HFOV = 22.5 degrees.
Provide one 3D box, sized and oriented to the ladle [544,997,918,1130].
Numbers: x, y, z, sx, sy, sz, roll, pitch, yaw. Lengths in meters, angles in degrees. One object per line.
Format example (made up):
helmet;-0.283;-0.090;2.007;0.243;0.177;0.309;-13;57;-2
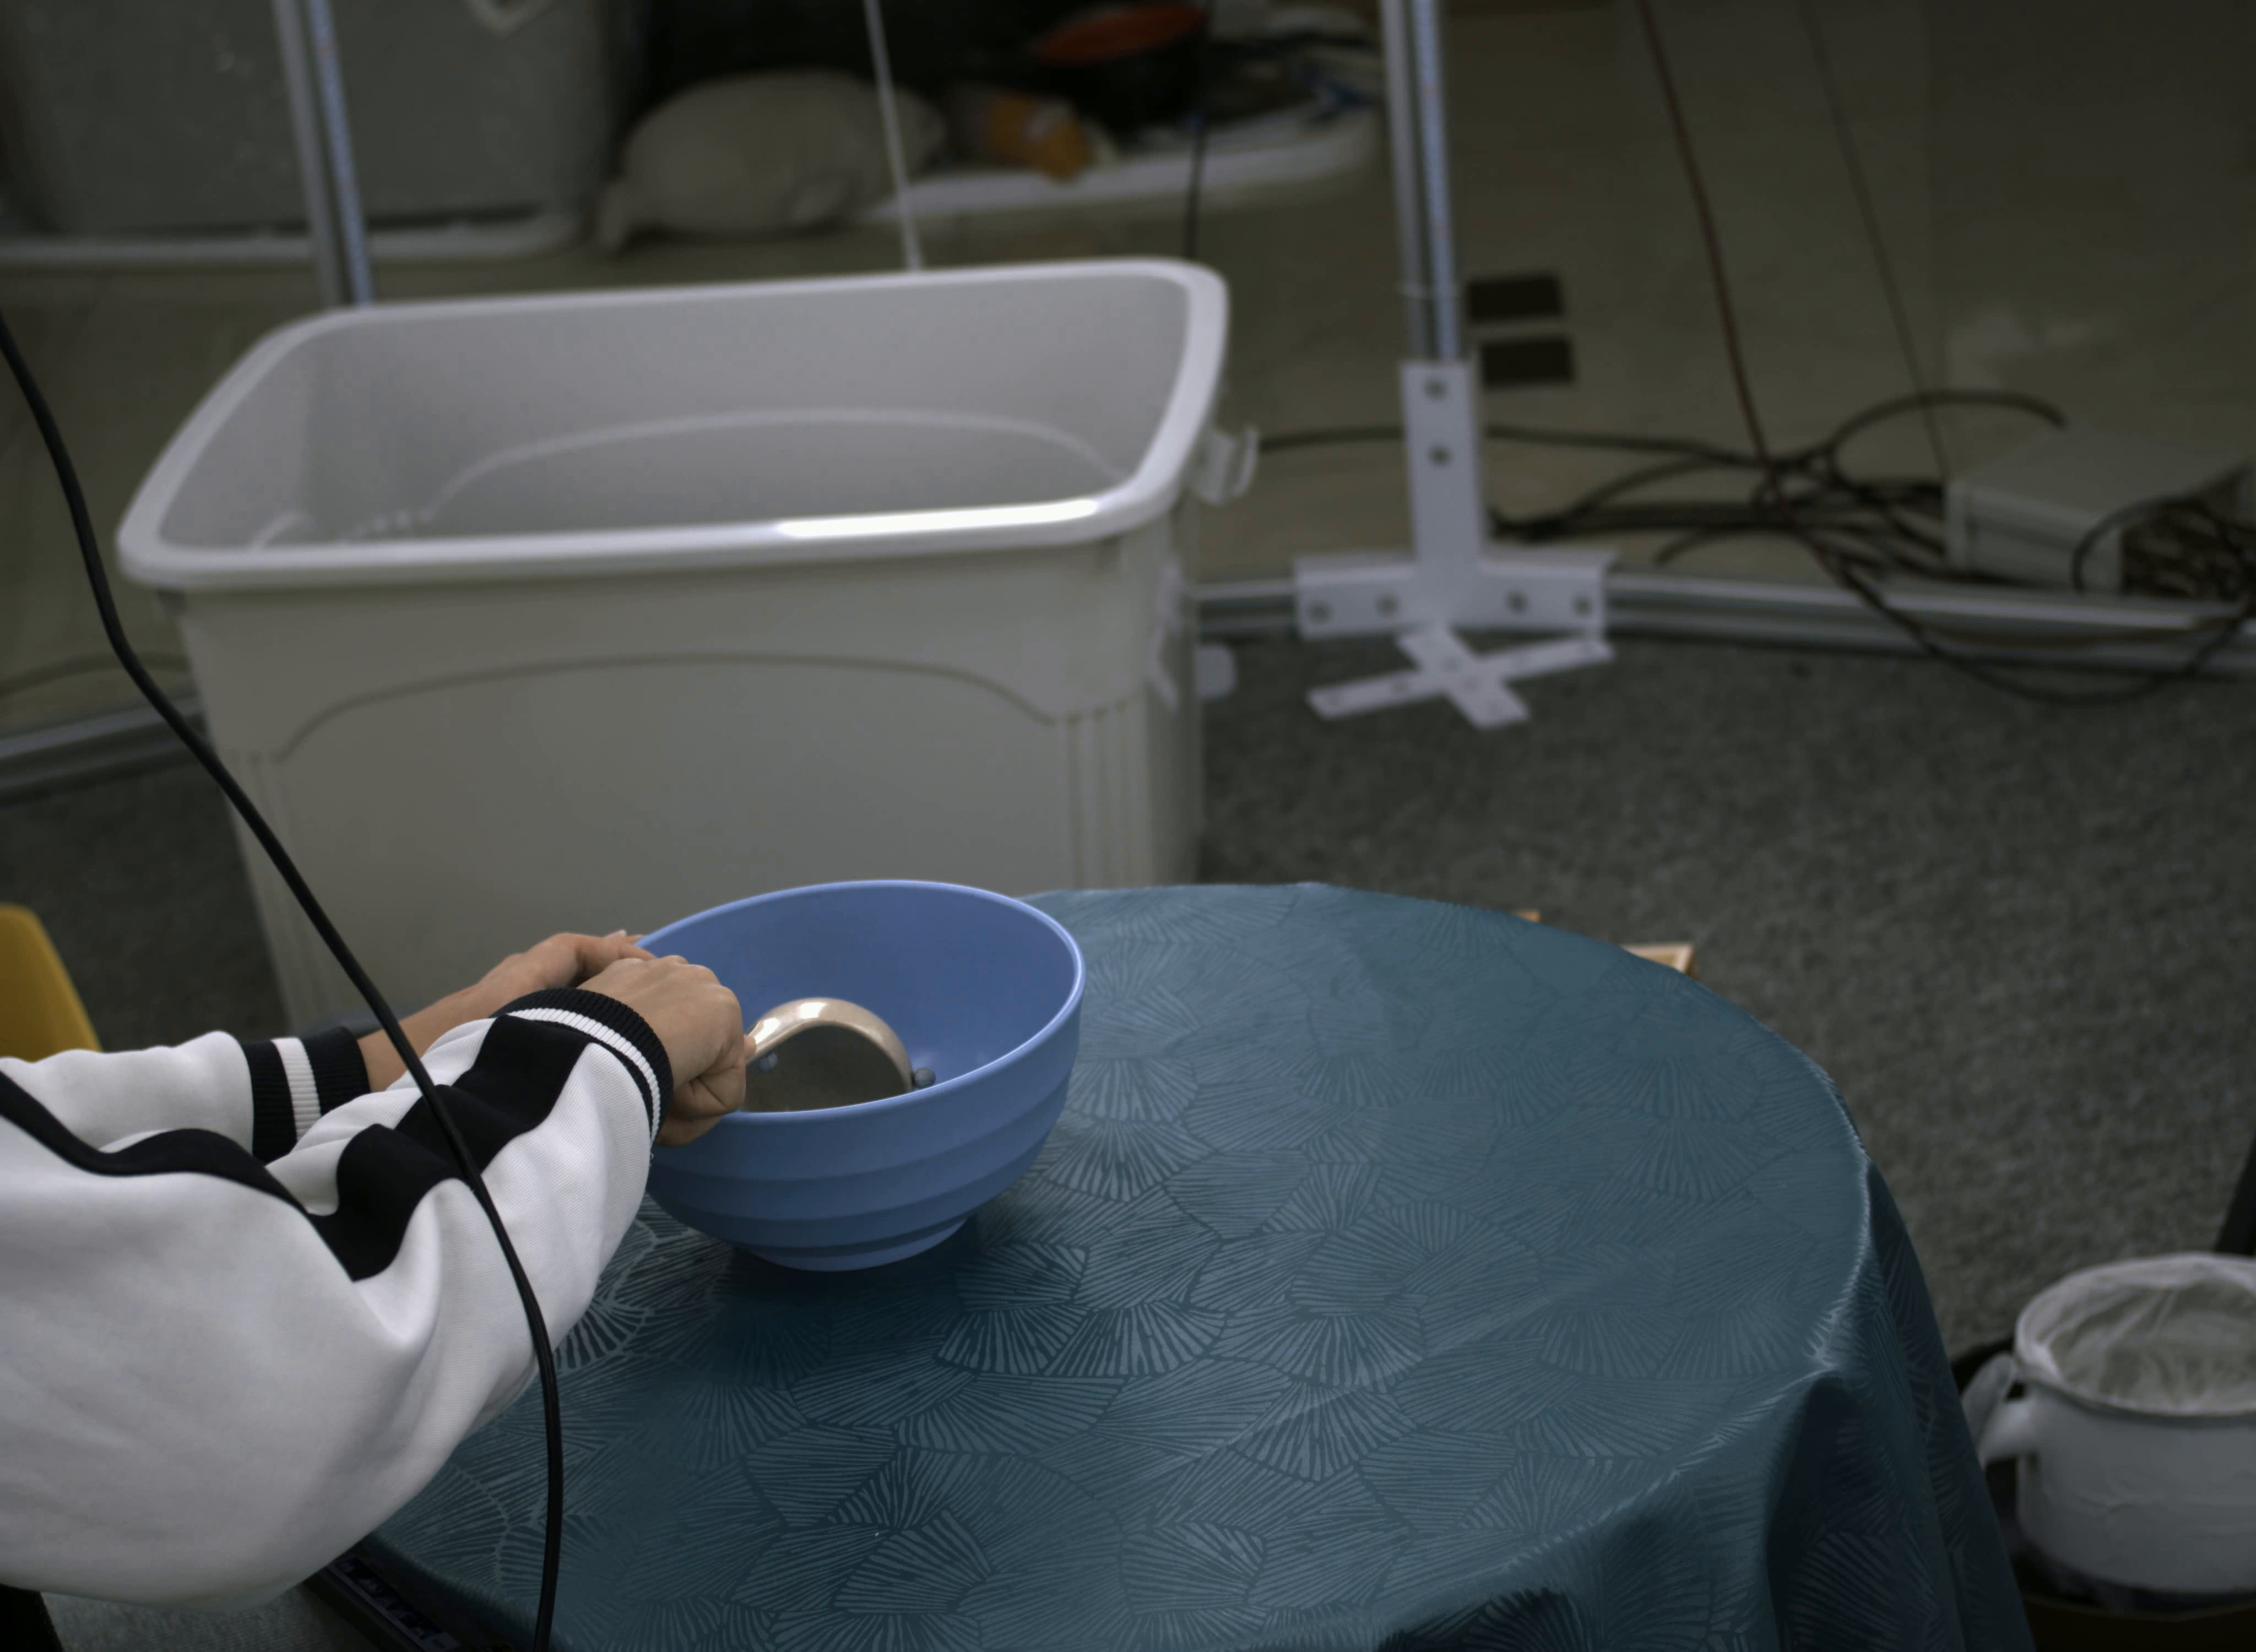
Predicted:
ladle;-0.149;0.114;2.053;0.072;0.073;0.253;3;10;21

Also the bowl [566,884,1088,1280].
bowl;-0.108;0.108;2.137;0.196;0.097;0.193;-5;27;2
